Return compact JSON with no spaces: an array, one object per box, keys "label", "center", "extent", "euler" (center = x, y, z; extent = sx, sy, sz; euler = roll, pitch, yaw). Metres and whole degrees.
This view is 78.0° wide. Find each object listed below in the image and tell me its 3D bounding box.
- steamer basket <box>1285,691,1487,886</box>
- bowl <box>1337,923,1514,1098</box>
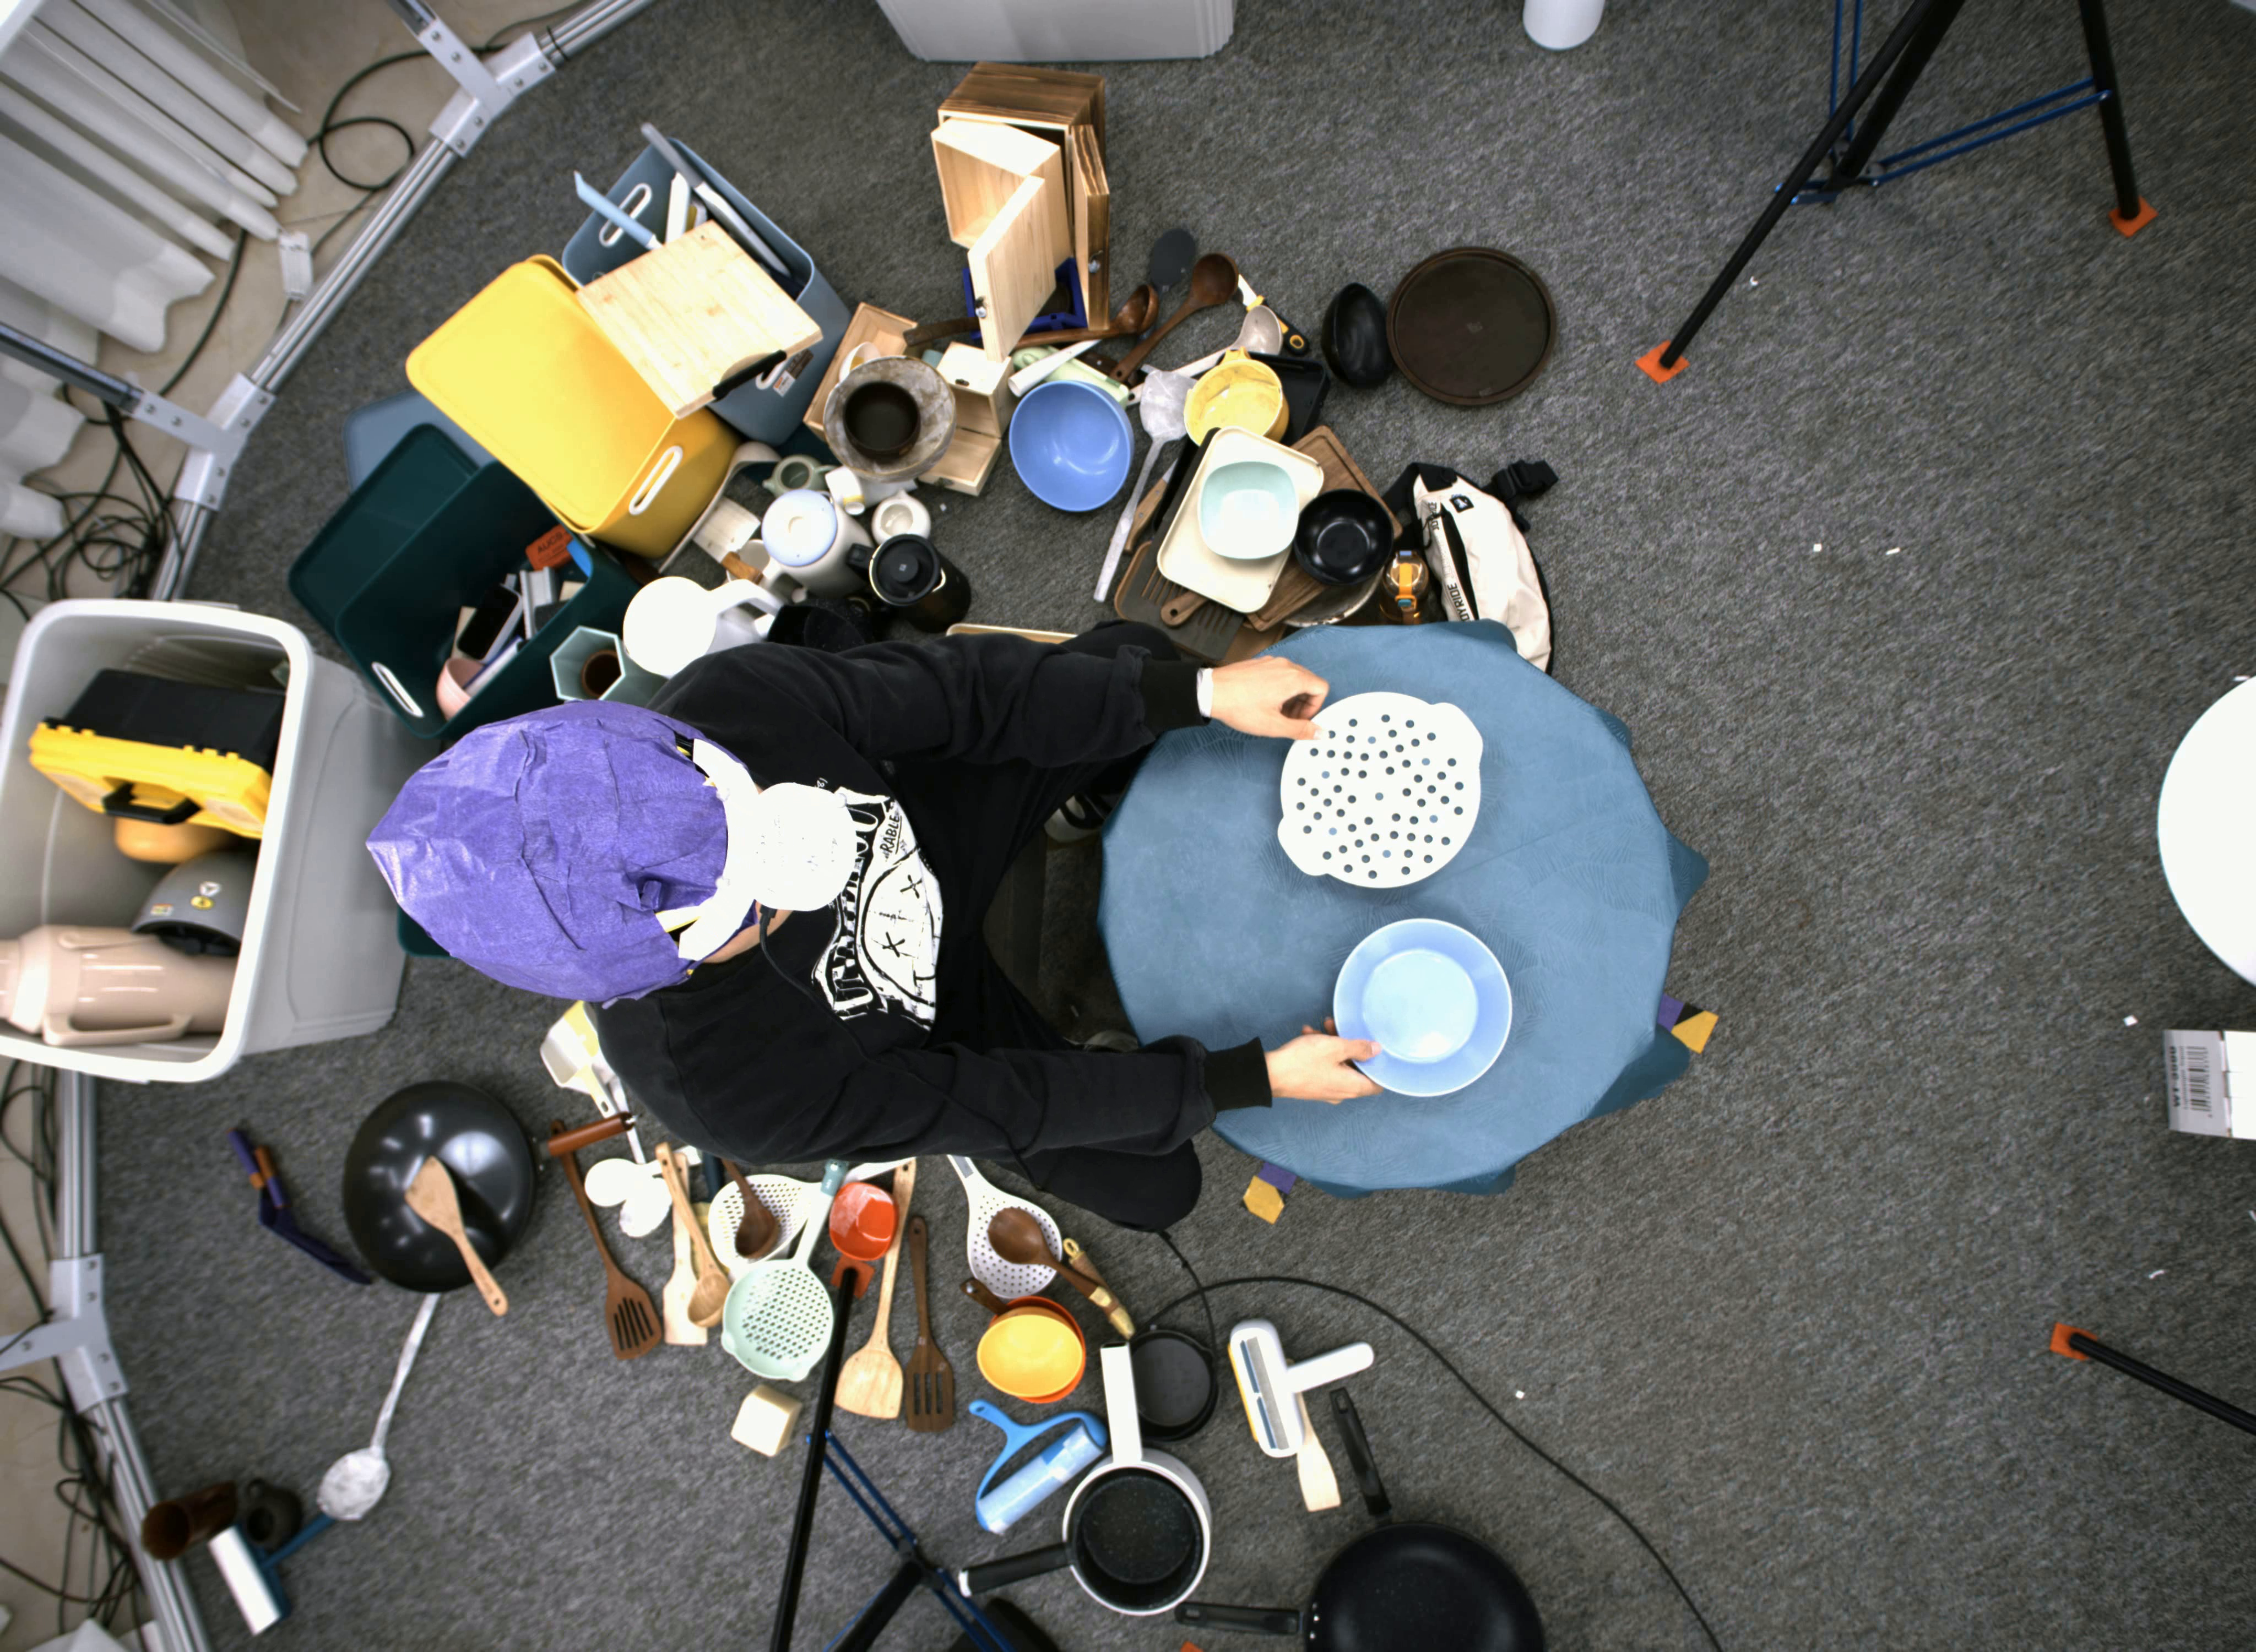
[{"label":"steamer basket","center":[0.268,-0.037,1.437],"extent":[0.231,0.069,0.201],"euler":[-37,81,3]},{"label":"bowl","center":[0.303,0.187,1.415],"extent":[0.177,0.070,0.175],"euler":[-1,84,11]}]
